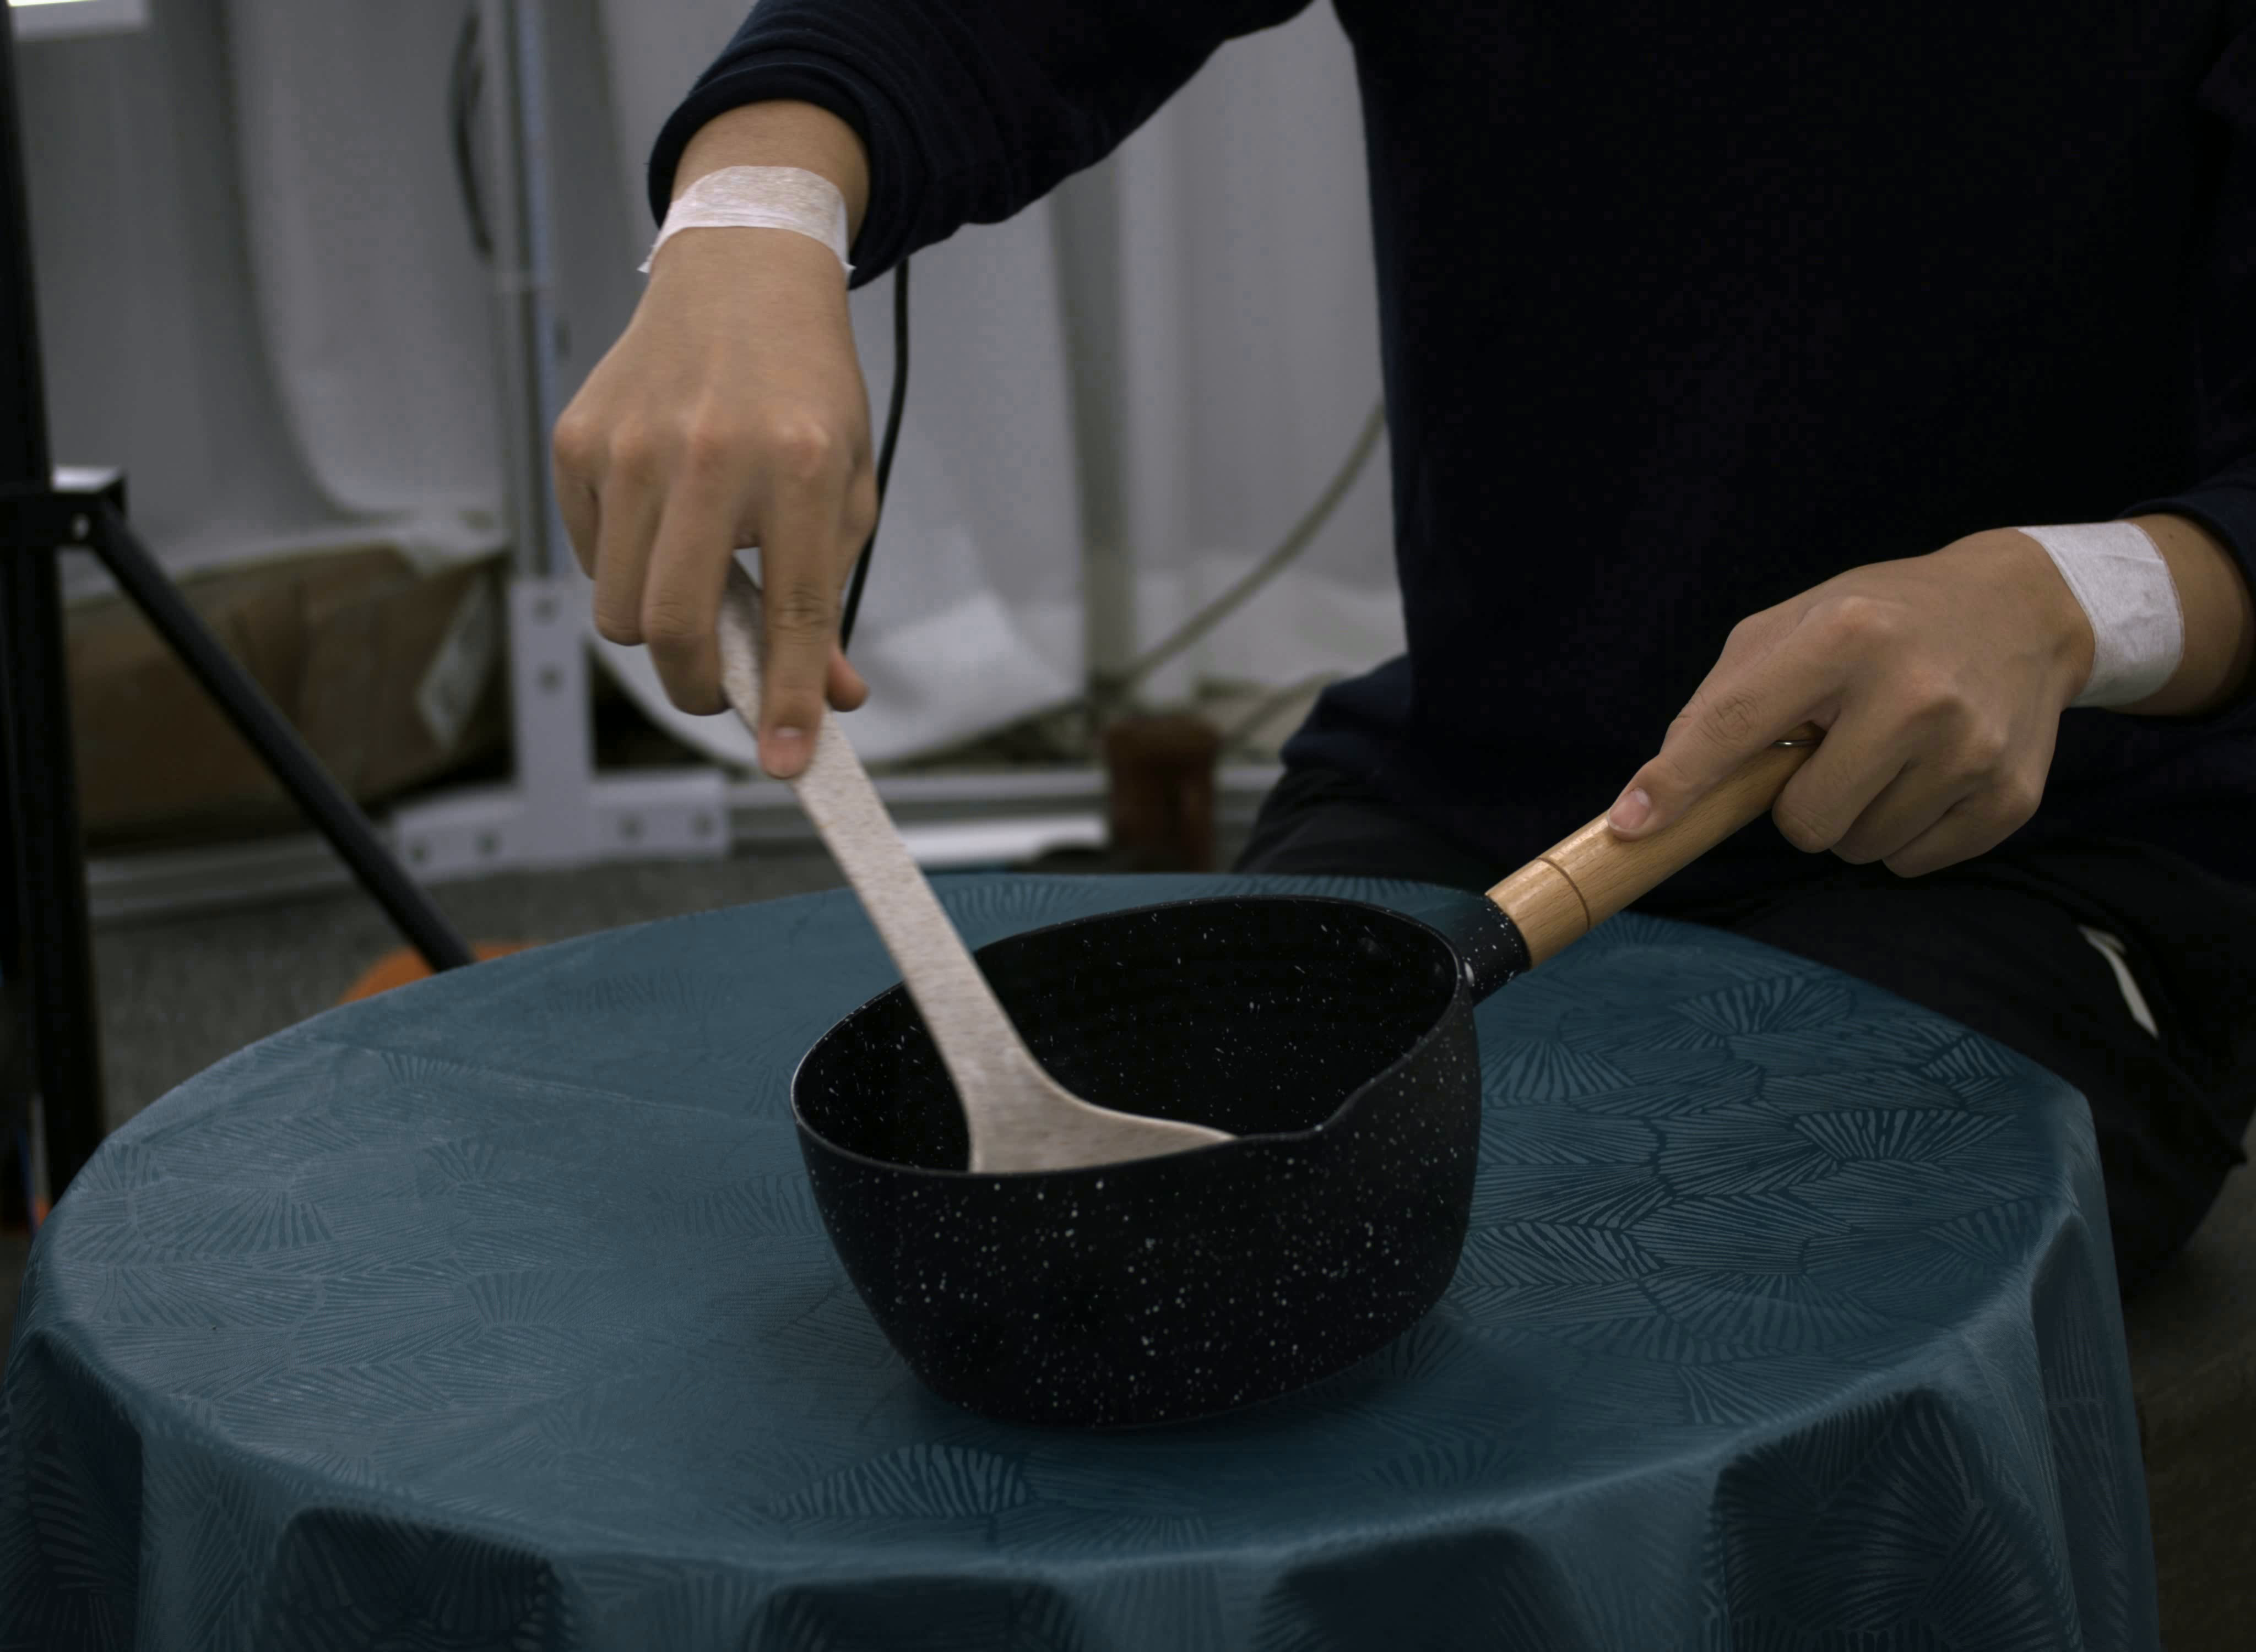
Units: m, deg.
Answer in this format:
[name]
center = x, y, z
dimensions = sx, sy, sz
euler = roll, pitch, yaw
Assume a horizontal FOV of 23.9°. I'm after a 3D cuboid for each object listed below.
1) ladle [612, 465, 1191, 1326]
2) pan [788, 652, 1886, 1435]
[ladle]
center = -0.059, 0.009, 1.404
dimensions = 0.088, 0.277, 0.070
euler = -24, -13, -24
[pan]
center = 0.072, 0.056, 1.450
dimensions = 0.337, 0.108, 0.212
euler = -22, 20, -24
